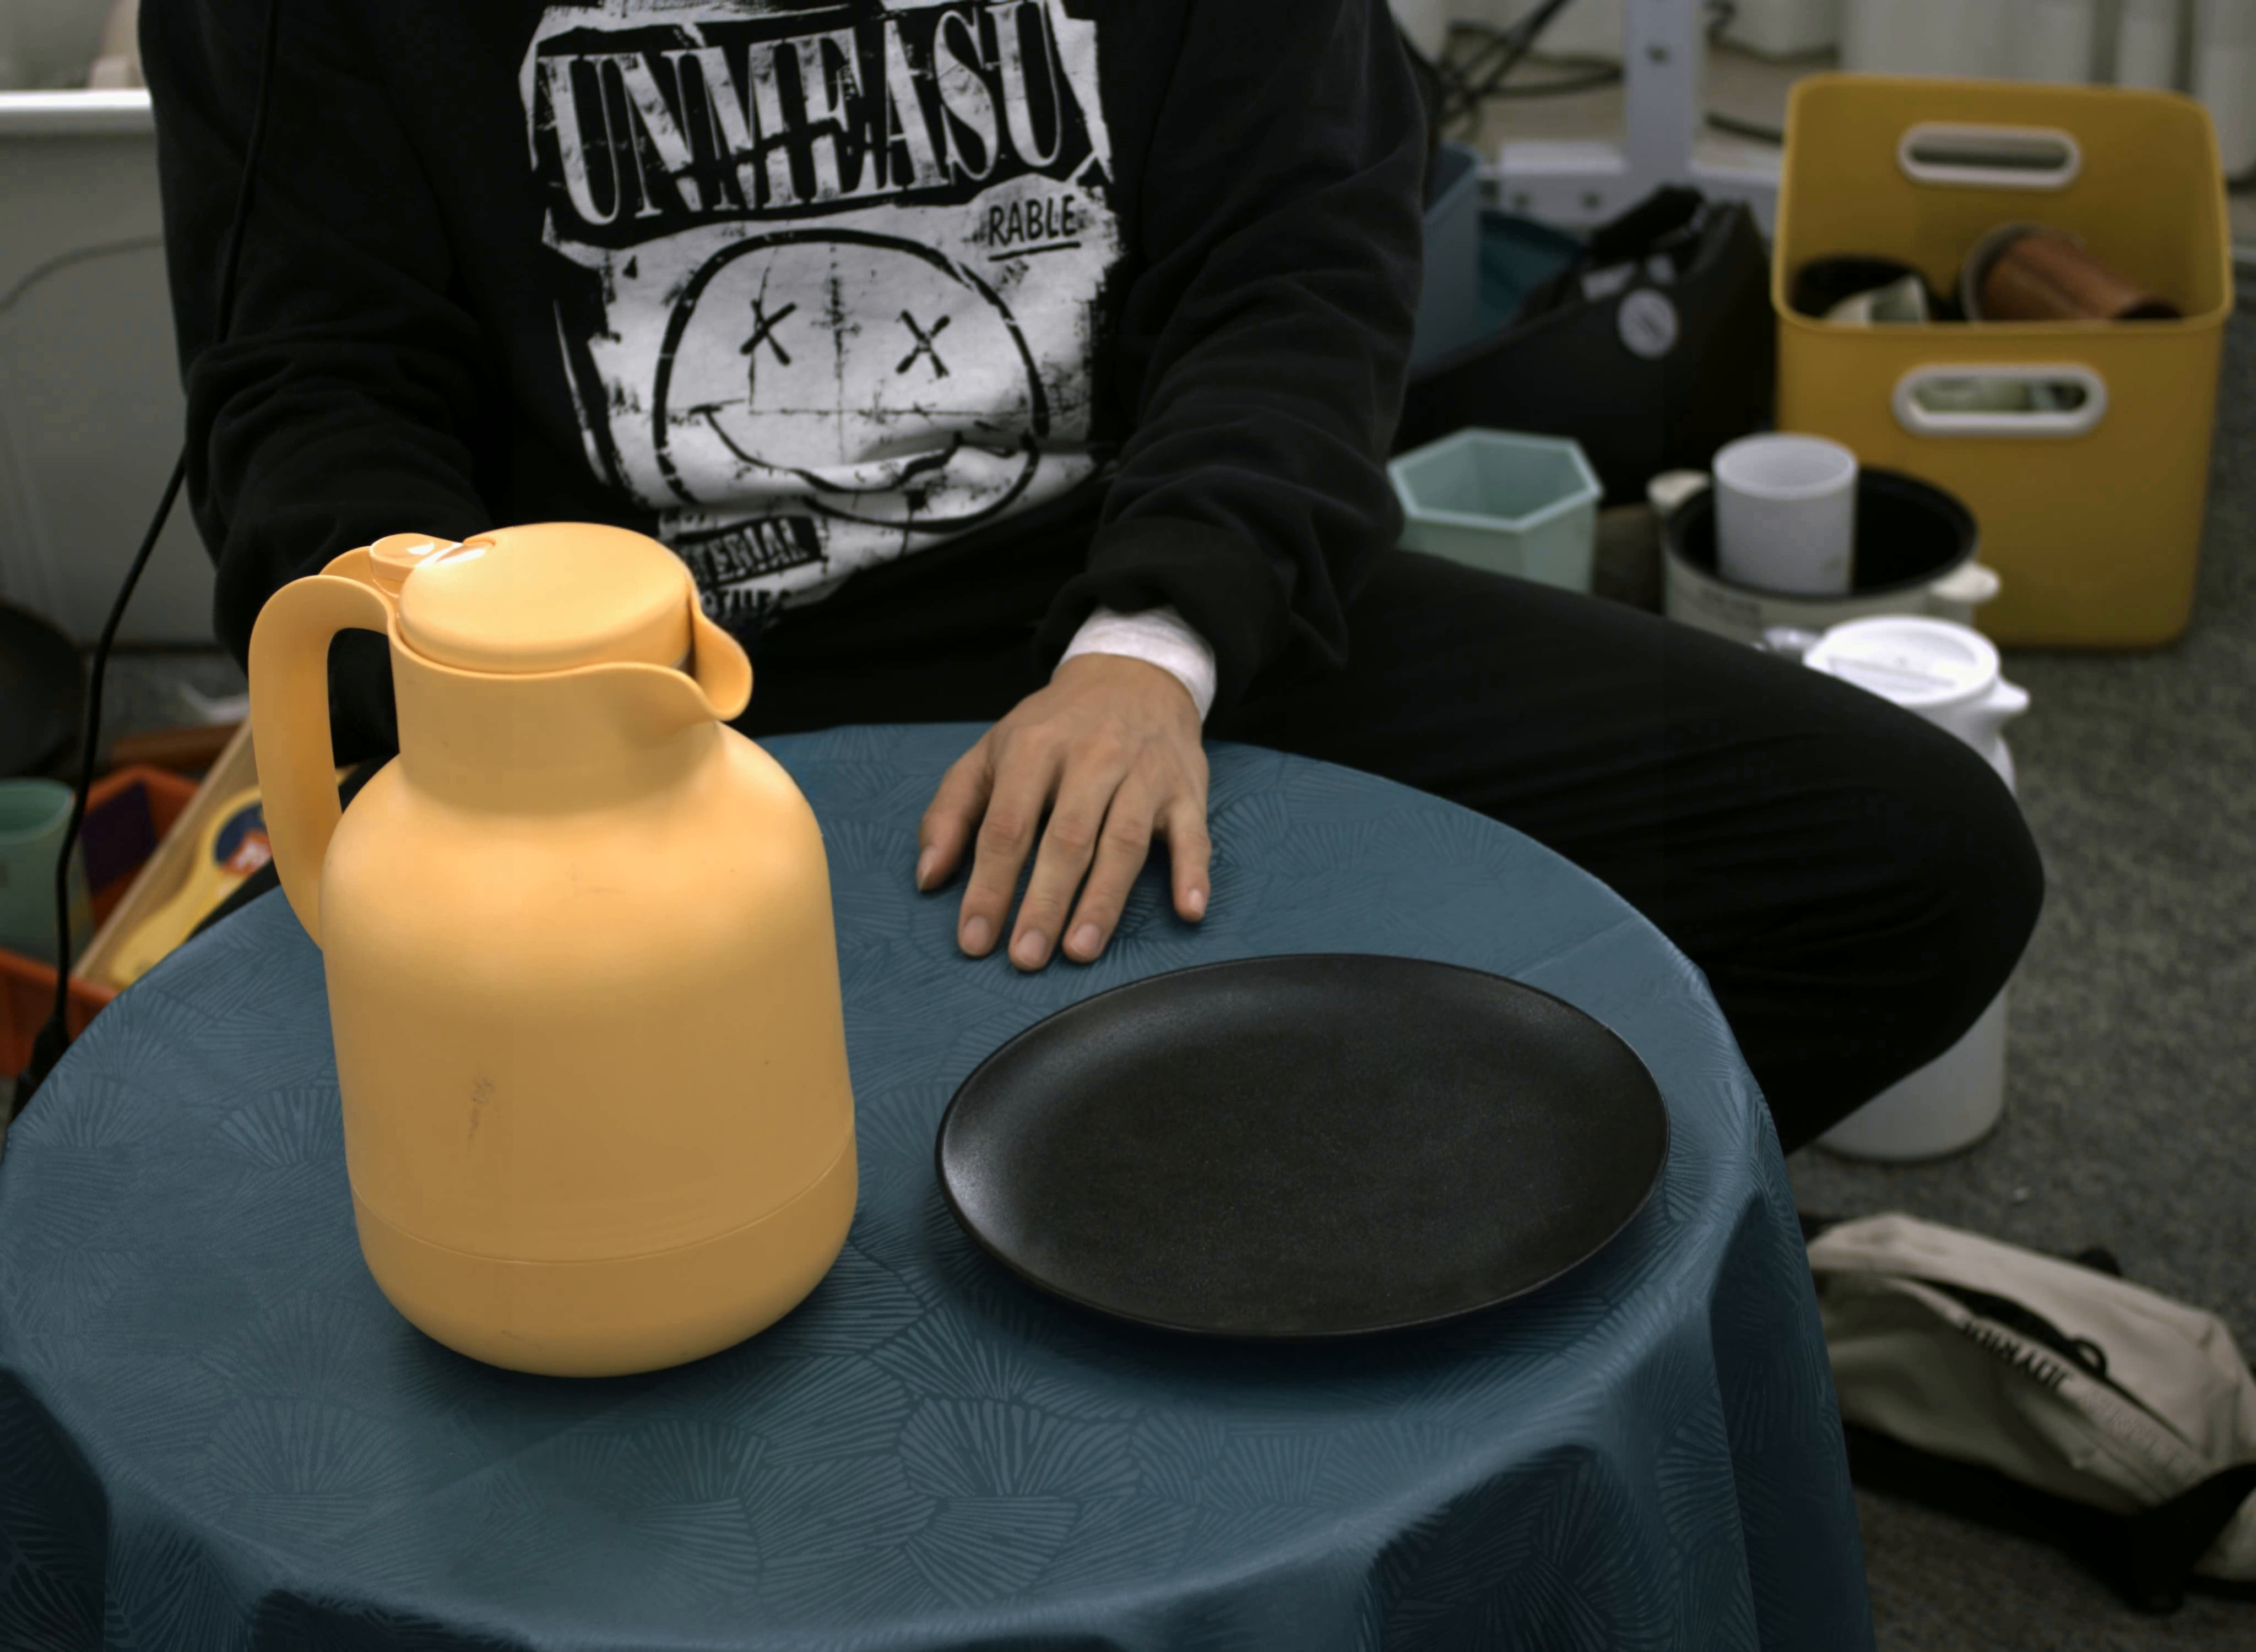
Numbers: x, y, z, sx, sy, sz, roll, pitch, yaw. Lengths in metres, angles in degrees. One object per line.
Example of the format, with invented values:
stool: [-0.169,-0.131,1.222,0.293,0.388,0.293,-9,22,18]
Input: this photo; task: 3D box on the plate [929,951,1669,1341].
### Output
plate: [0.056,0.110,1.850,0.243,0.023,0.248,-2,27,1]

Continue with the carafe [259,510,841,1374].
carafe: [-0.189,0.026,1.778,0.201,0.258,0.165,18,30,33]
